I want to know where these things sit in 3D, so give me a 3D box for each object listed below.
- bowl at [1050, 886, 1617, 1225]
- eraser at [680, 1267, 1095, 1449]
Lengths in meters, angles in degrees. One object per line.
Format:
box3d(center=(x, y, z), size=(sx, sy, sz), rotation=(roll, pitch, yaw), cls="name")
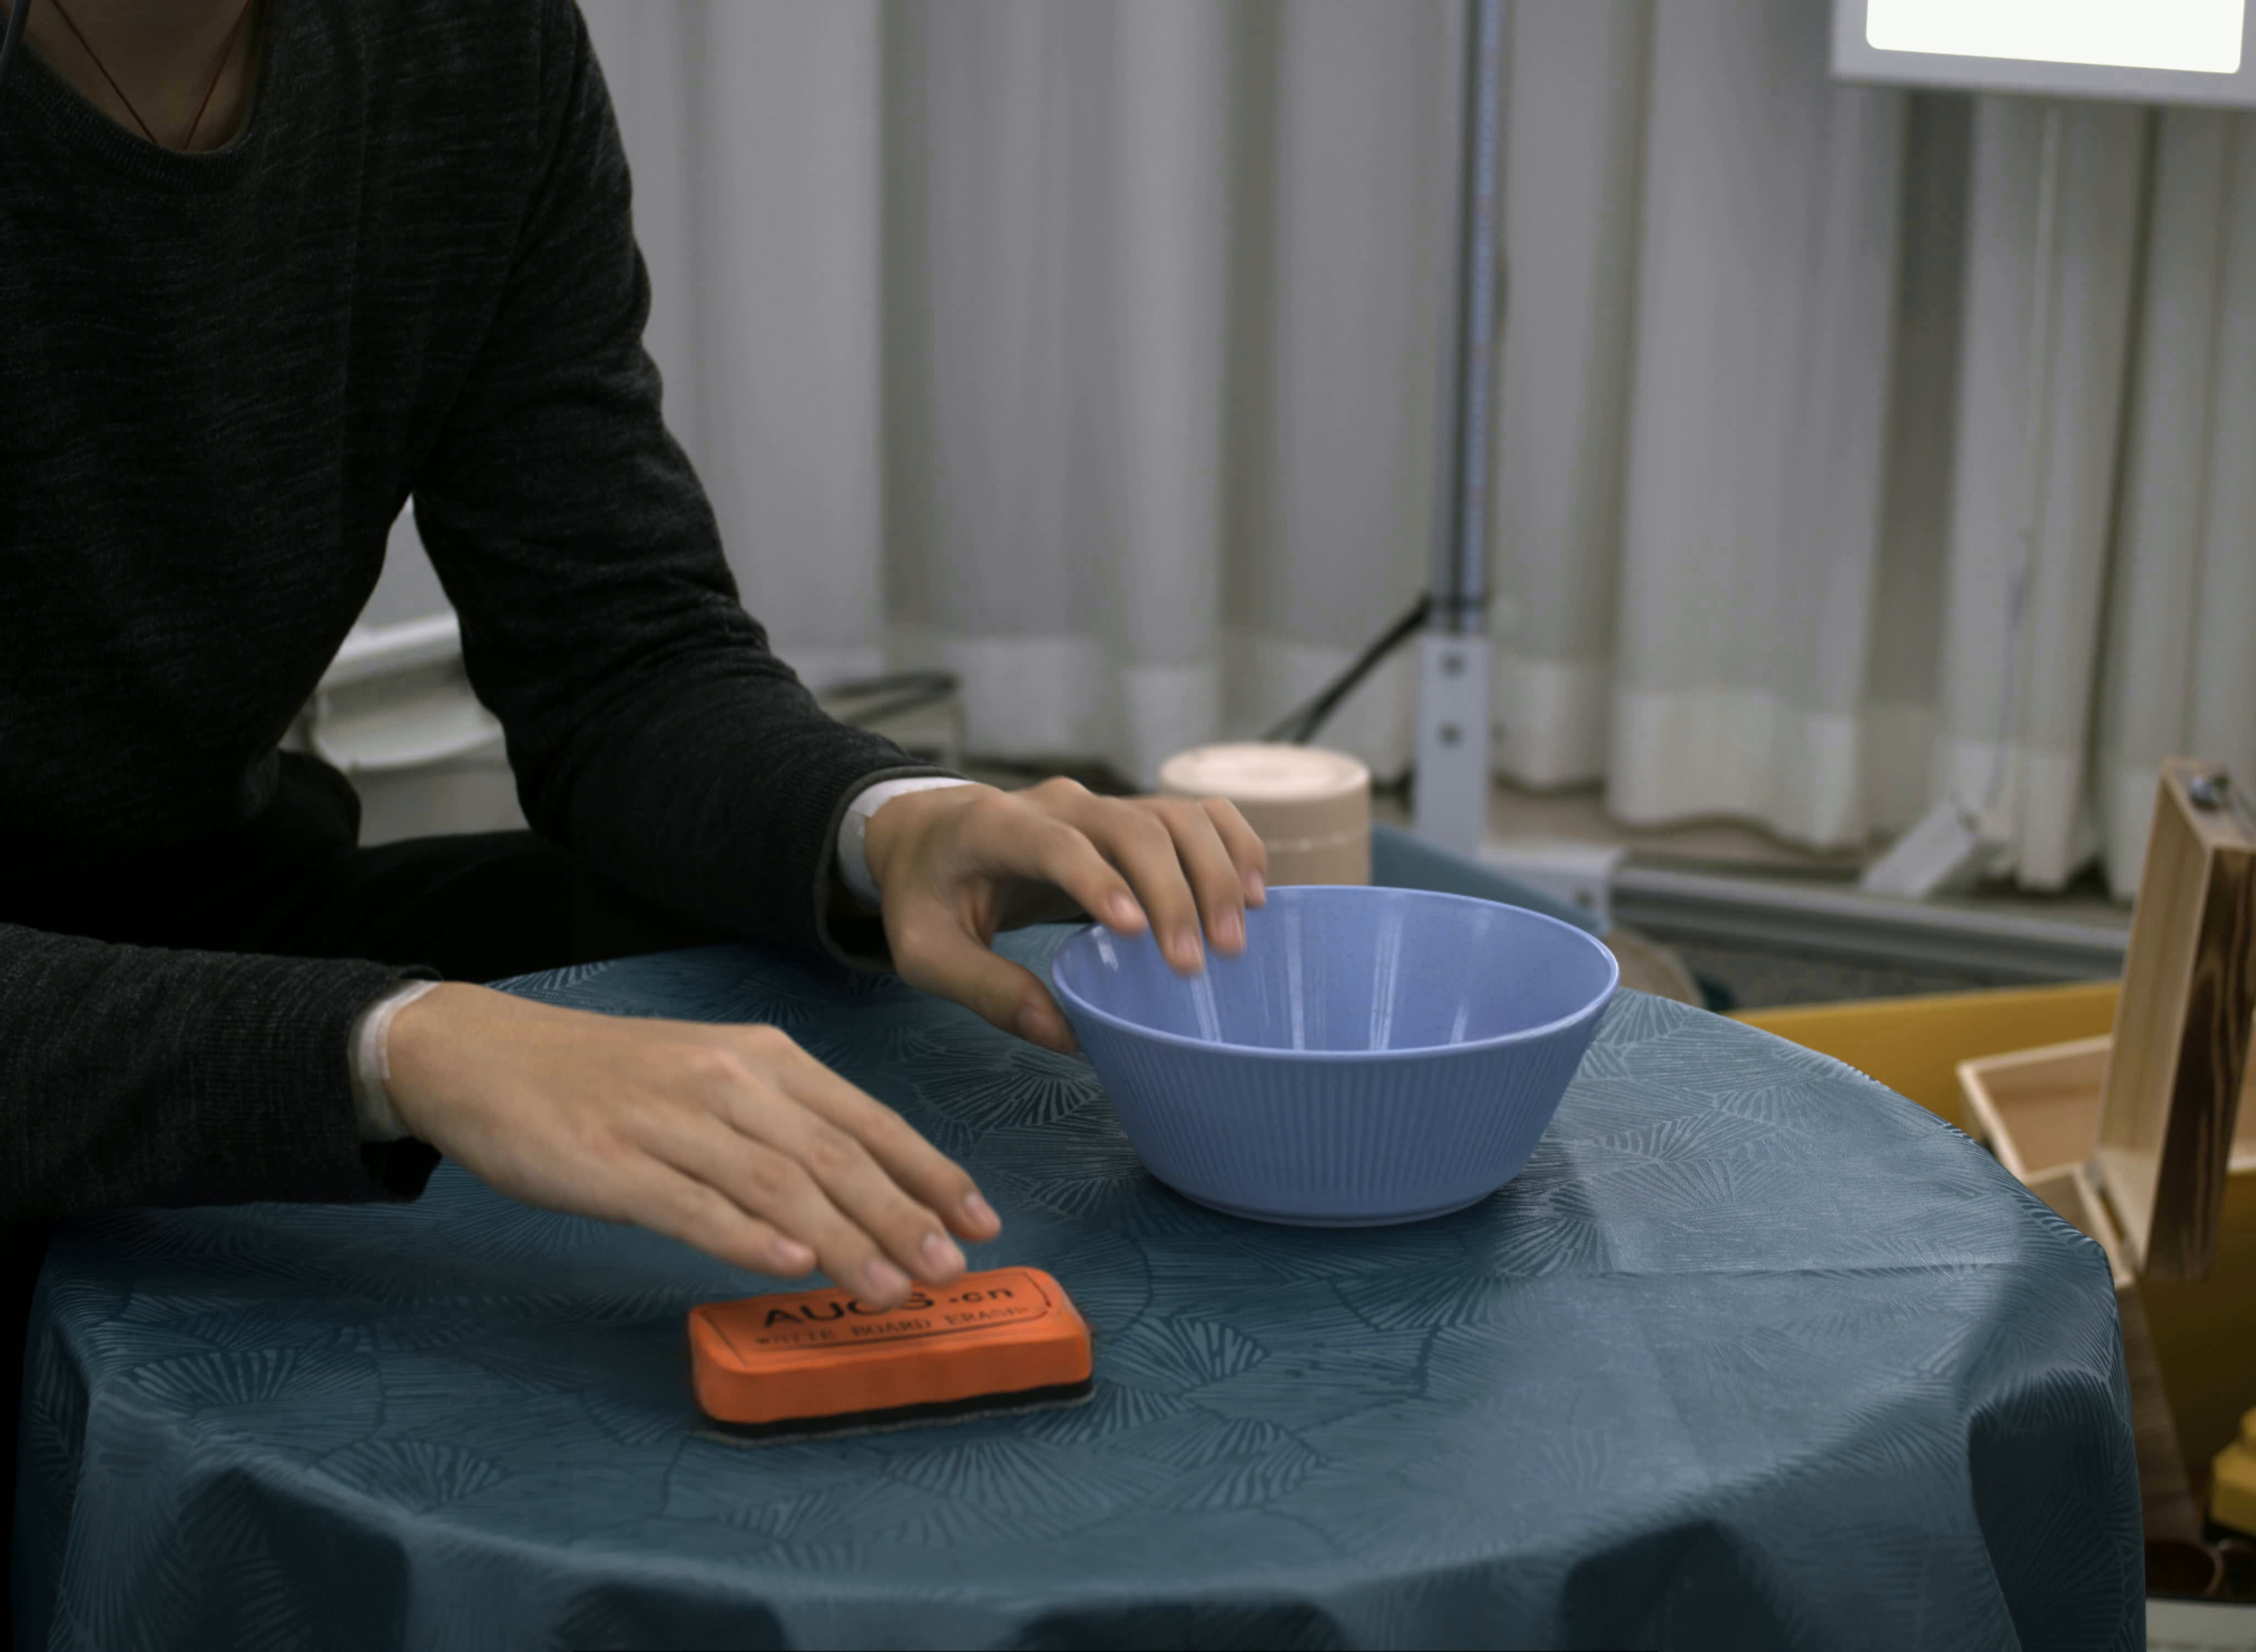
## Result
box3d(center=(0.063, 0.073, 1.632), size=(0.175, 0.071, 0.175), rotation=(0, 16, 0), cls="bowl")
box3d(center=(-0.066, 0.146, 1.452), size=(0.108, 0.023, 0.058), rotation=(-6, 18, -19), cls="eraser")
